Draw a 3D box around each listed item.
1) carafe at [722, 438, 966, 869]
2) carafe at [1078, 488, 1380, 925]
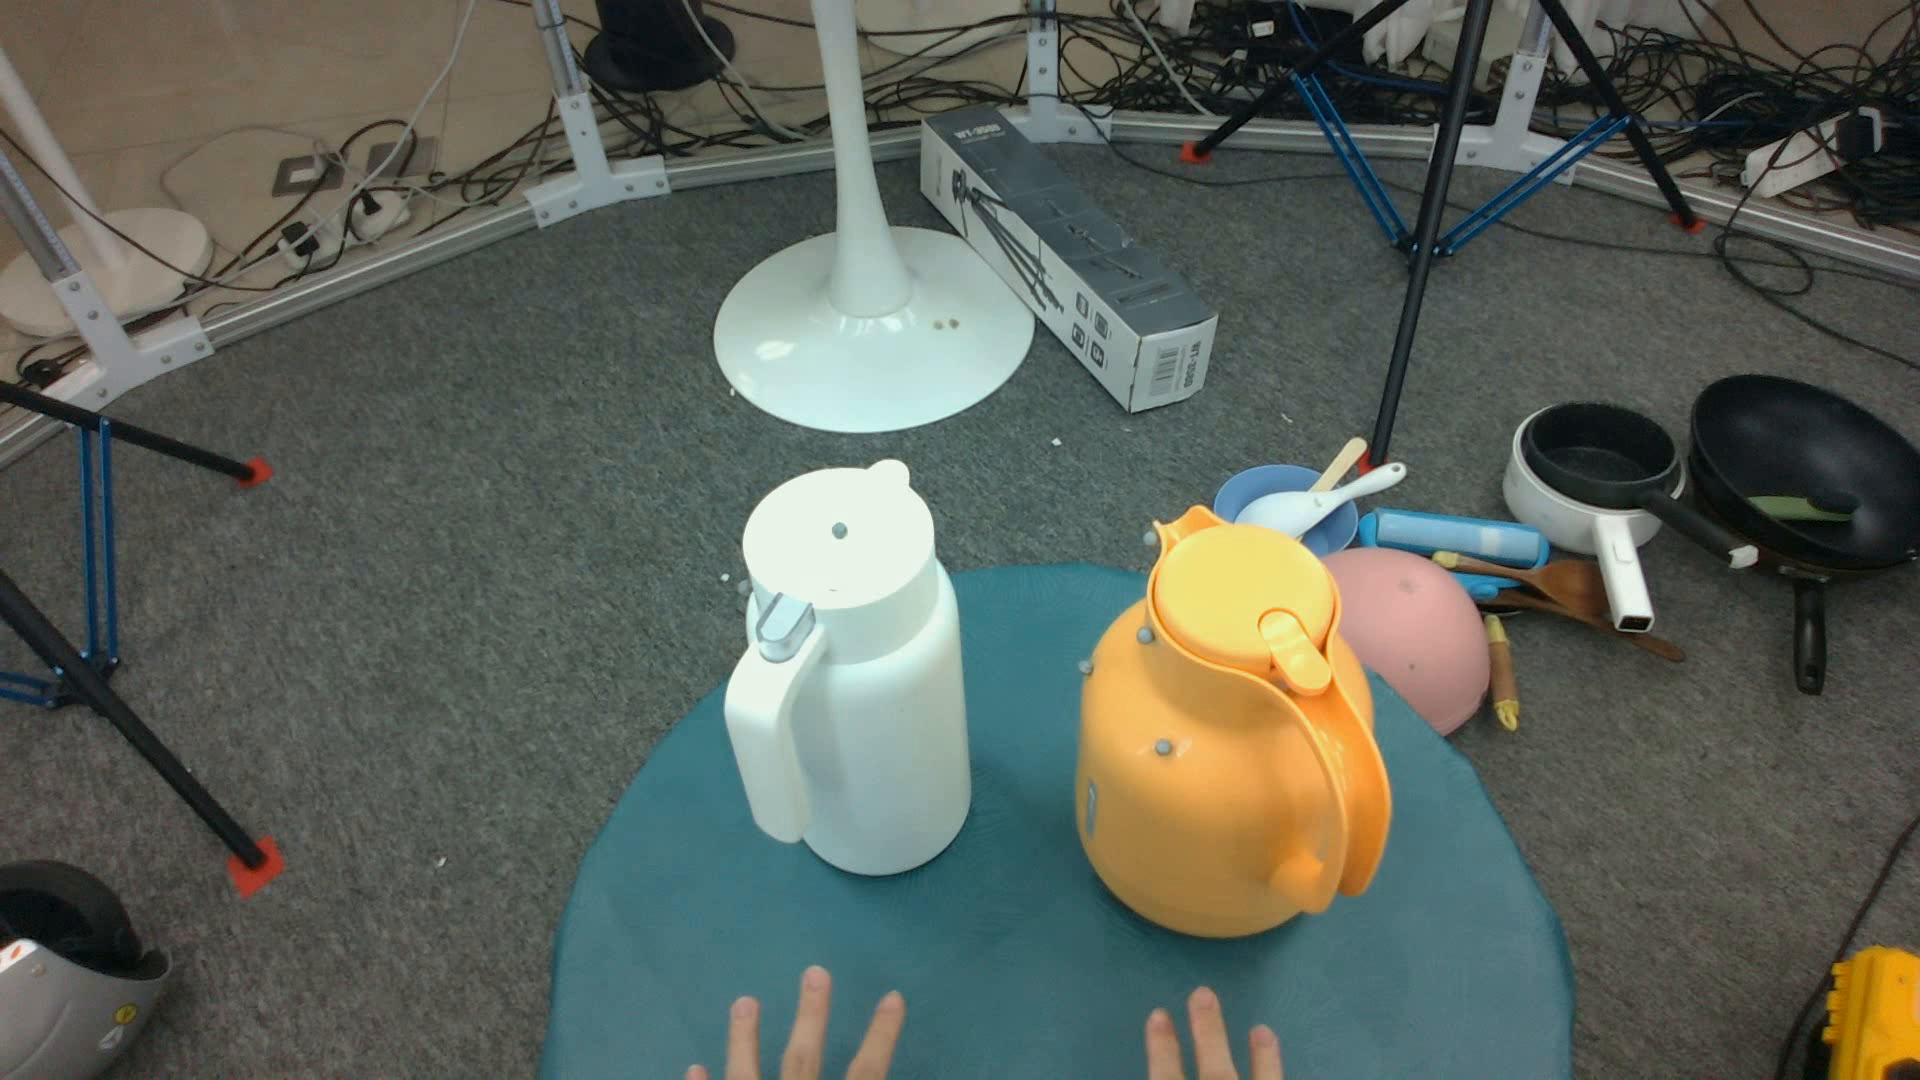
[{"bbox_3d":[-0.065,0.090,0.790,0.124,0.267,0.174,18,52,15],"label":"carafe"},{"bbox_3d":[0.154,0.109,0.767,0.164,0.259,0.203,-20,49,-11],"label":"carafe"}]
